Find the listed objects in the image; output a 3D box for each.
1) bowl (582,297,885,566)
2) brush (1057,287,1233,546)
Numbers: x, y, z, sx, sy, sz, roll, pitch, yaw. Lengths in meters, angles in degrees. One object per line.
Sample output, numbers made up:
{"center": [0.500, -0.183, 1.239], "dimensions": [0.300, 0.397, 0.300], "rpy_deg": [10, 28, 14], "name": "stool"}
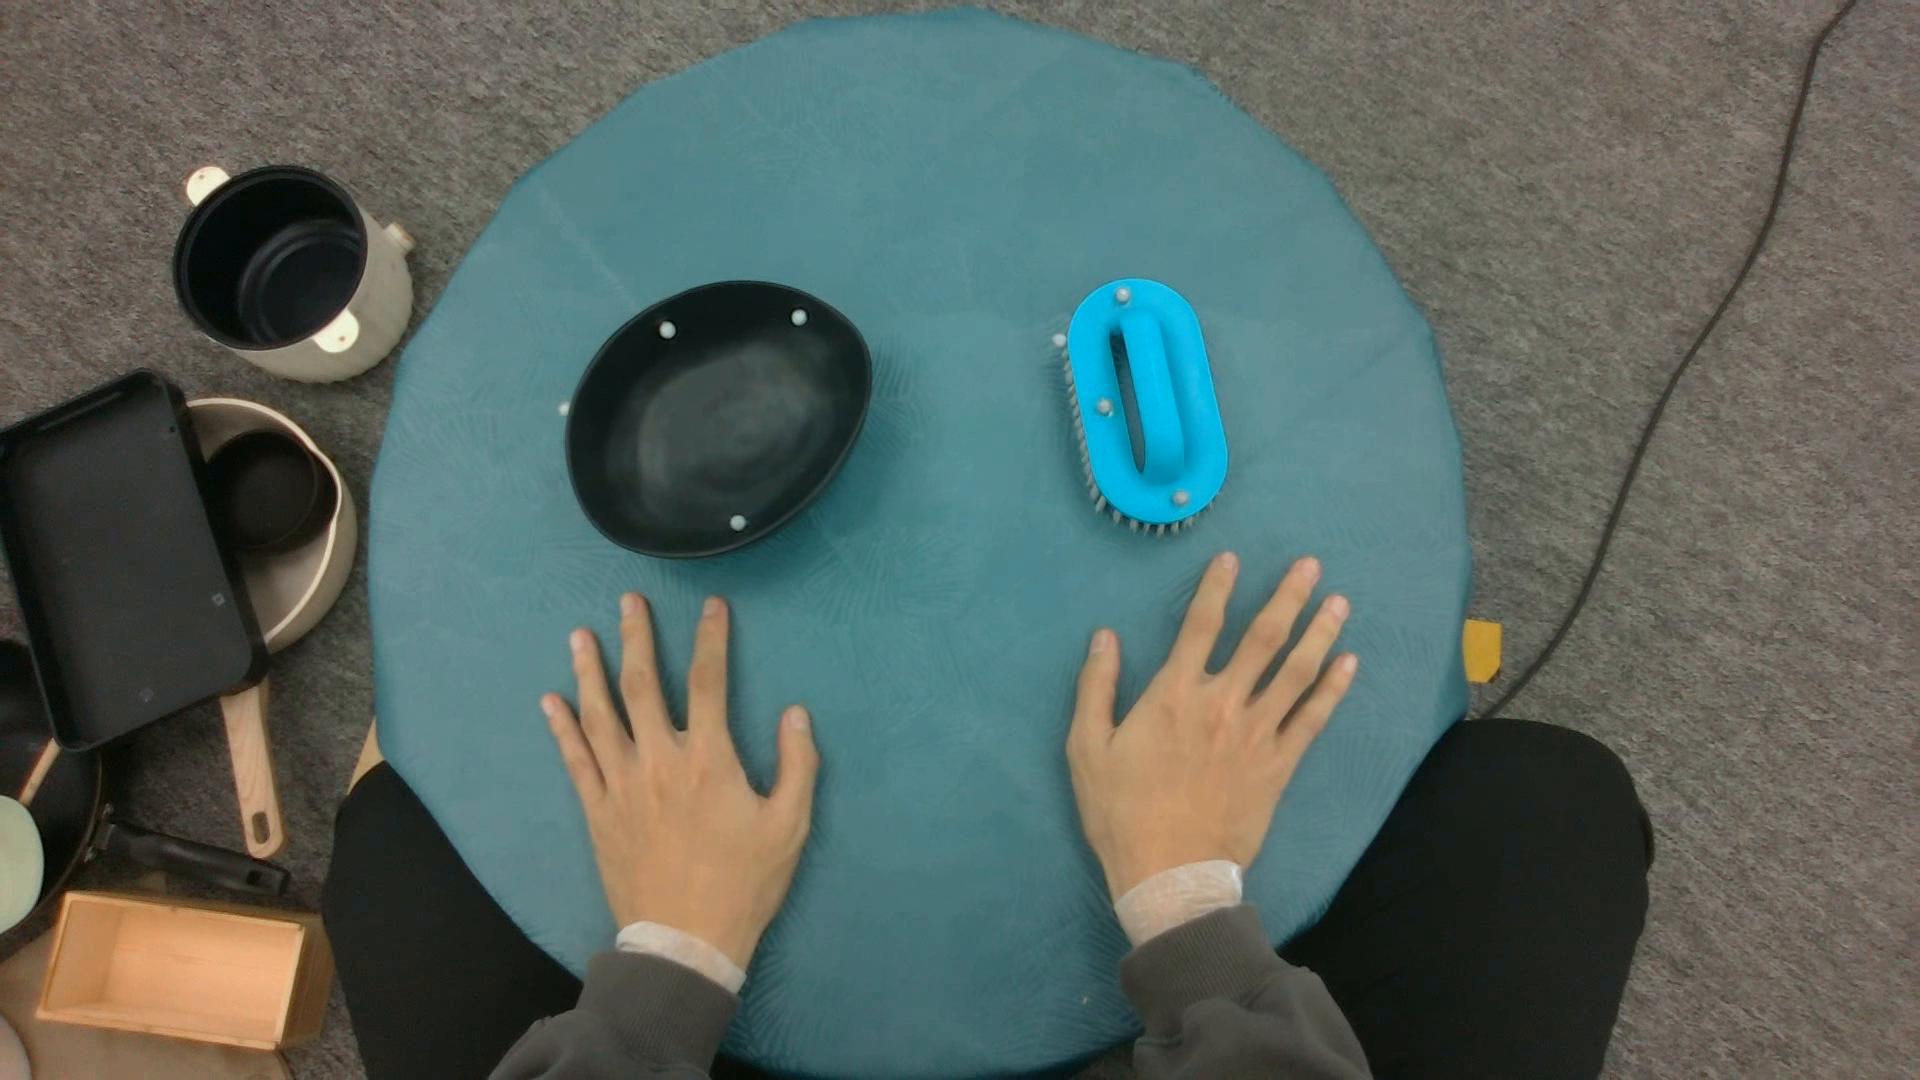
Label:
{"center": [-0.119, -0.055, 0.747], "dimensions": [0.170, 0.066, 0.137], "rpy_deg": [-40, 79, -8], "name": "bowl"}
{"center": [0.101, -0.071, 0.739], "dimensions": [0.084, 0.063, 0.142], "rpy_deg": [-7, 78, -3], "name": "brush"}
